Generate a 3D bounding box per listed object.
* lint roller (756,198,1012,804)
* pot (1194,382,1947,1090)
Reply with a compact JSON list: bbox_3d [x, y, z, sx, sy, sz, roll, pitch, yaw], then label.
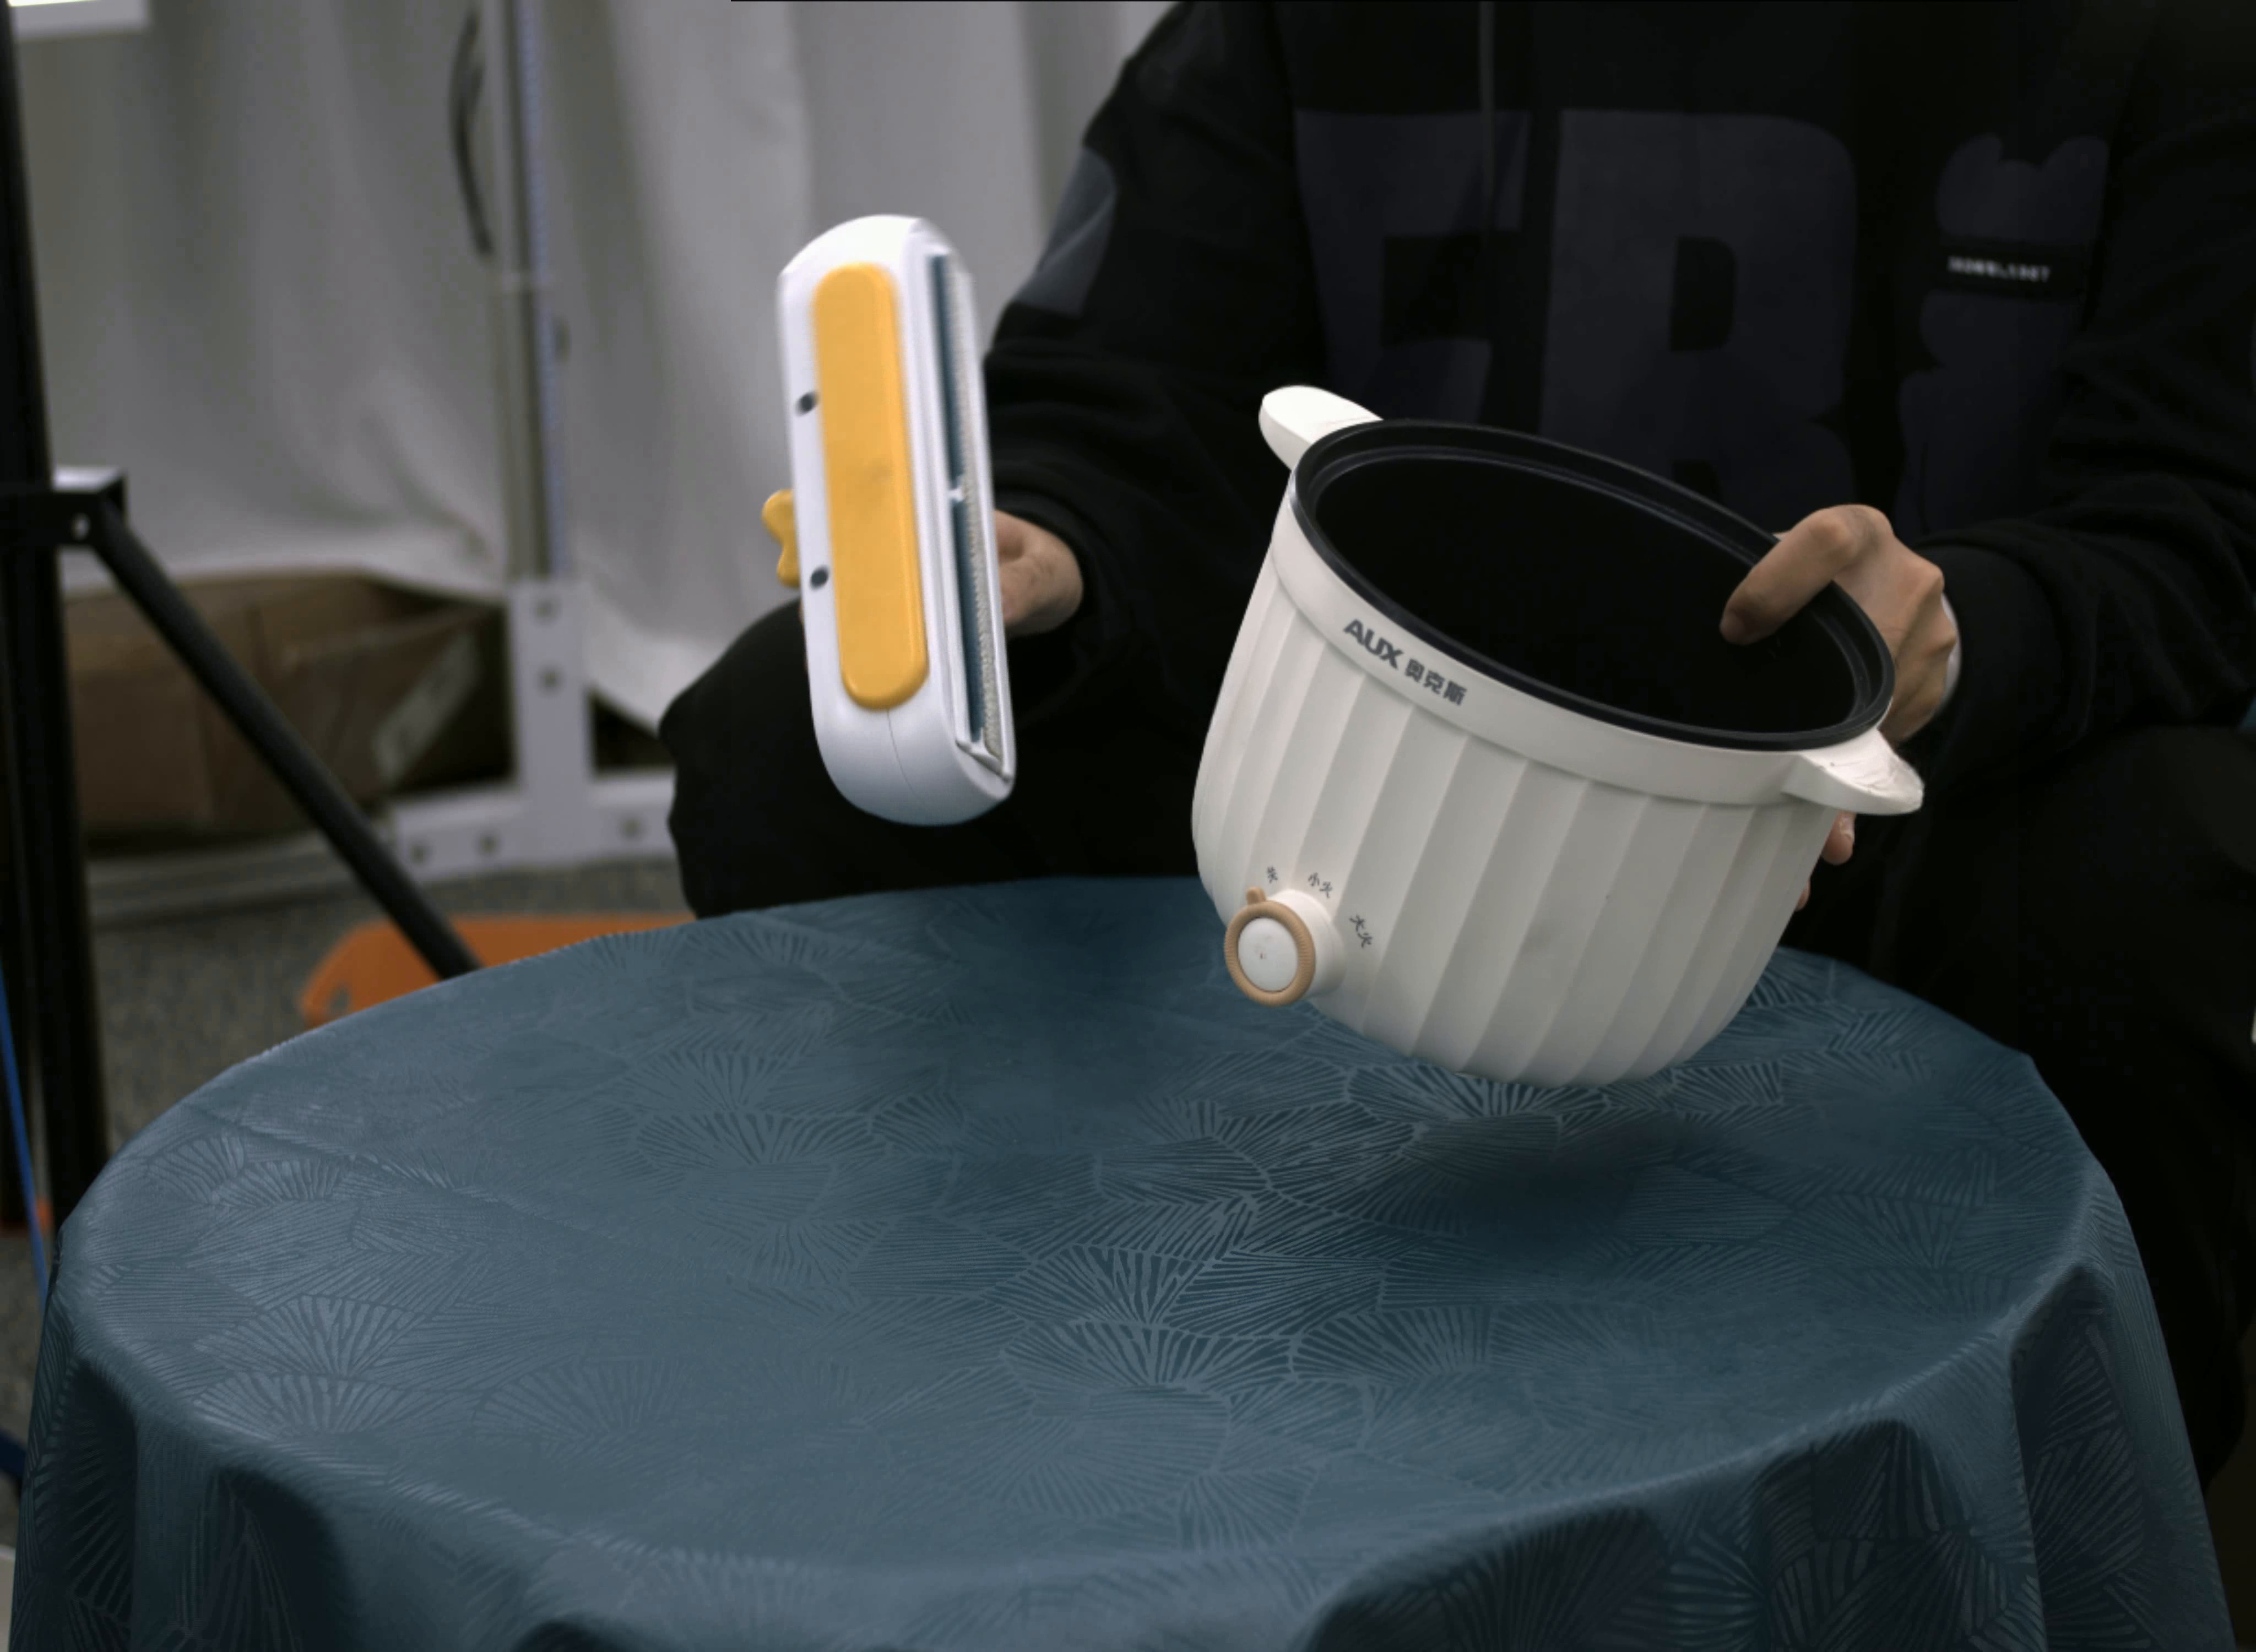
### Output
[{"bbox_3d":[-0.066,-0.078,1.689,0.074,0.195,0.189,-15,-24,9],"label":"lint roller"},{"bbox_3d":[0.110,-0.014,1.520,0.245,0.143,0.186,33,26,29],"label":"pot"}]
